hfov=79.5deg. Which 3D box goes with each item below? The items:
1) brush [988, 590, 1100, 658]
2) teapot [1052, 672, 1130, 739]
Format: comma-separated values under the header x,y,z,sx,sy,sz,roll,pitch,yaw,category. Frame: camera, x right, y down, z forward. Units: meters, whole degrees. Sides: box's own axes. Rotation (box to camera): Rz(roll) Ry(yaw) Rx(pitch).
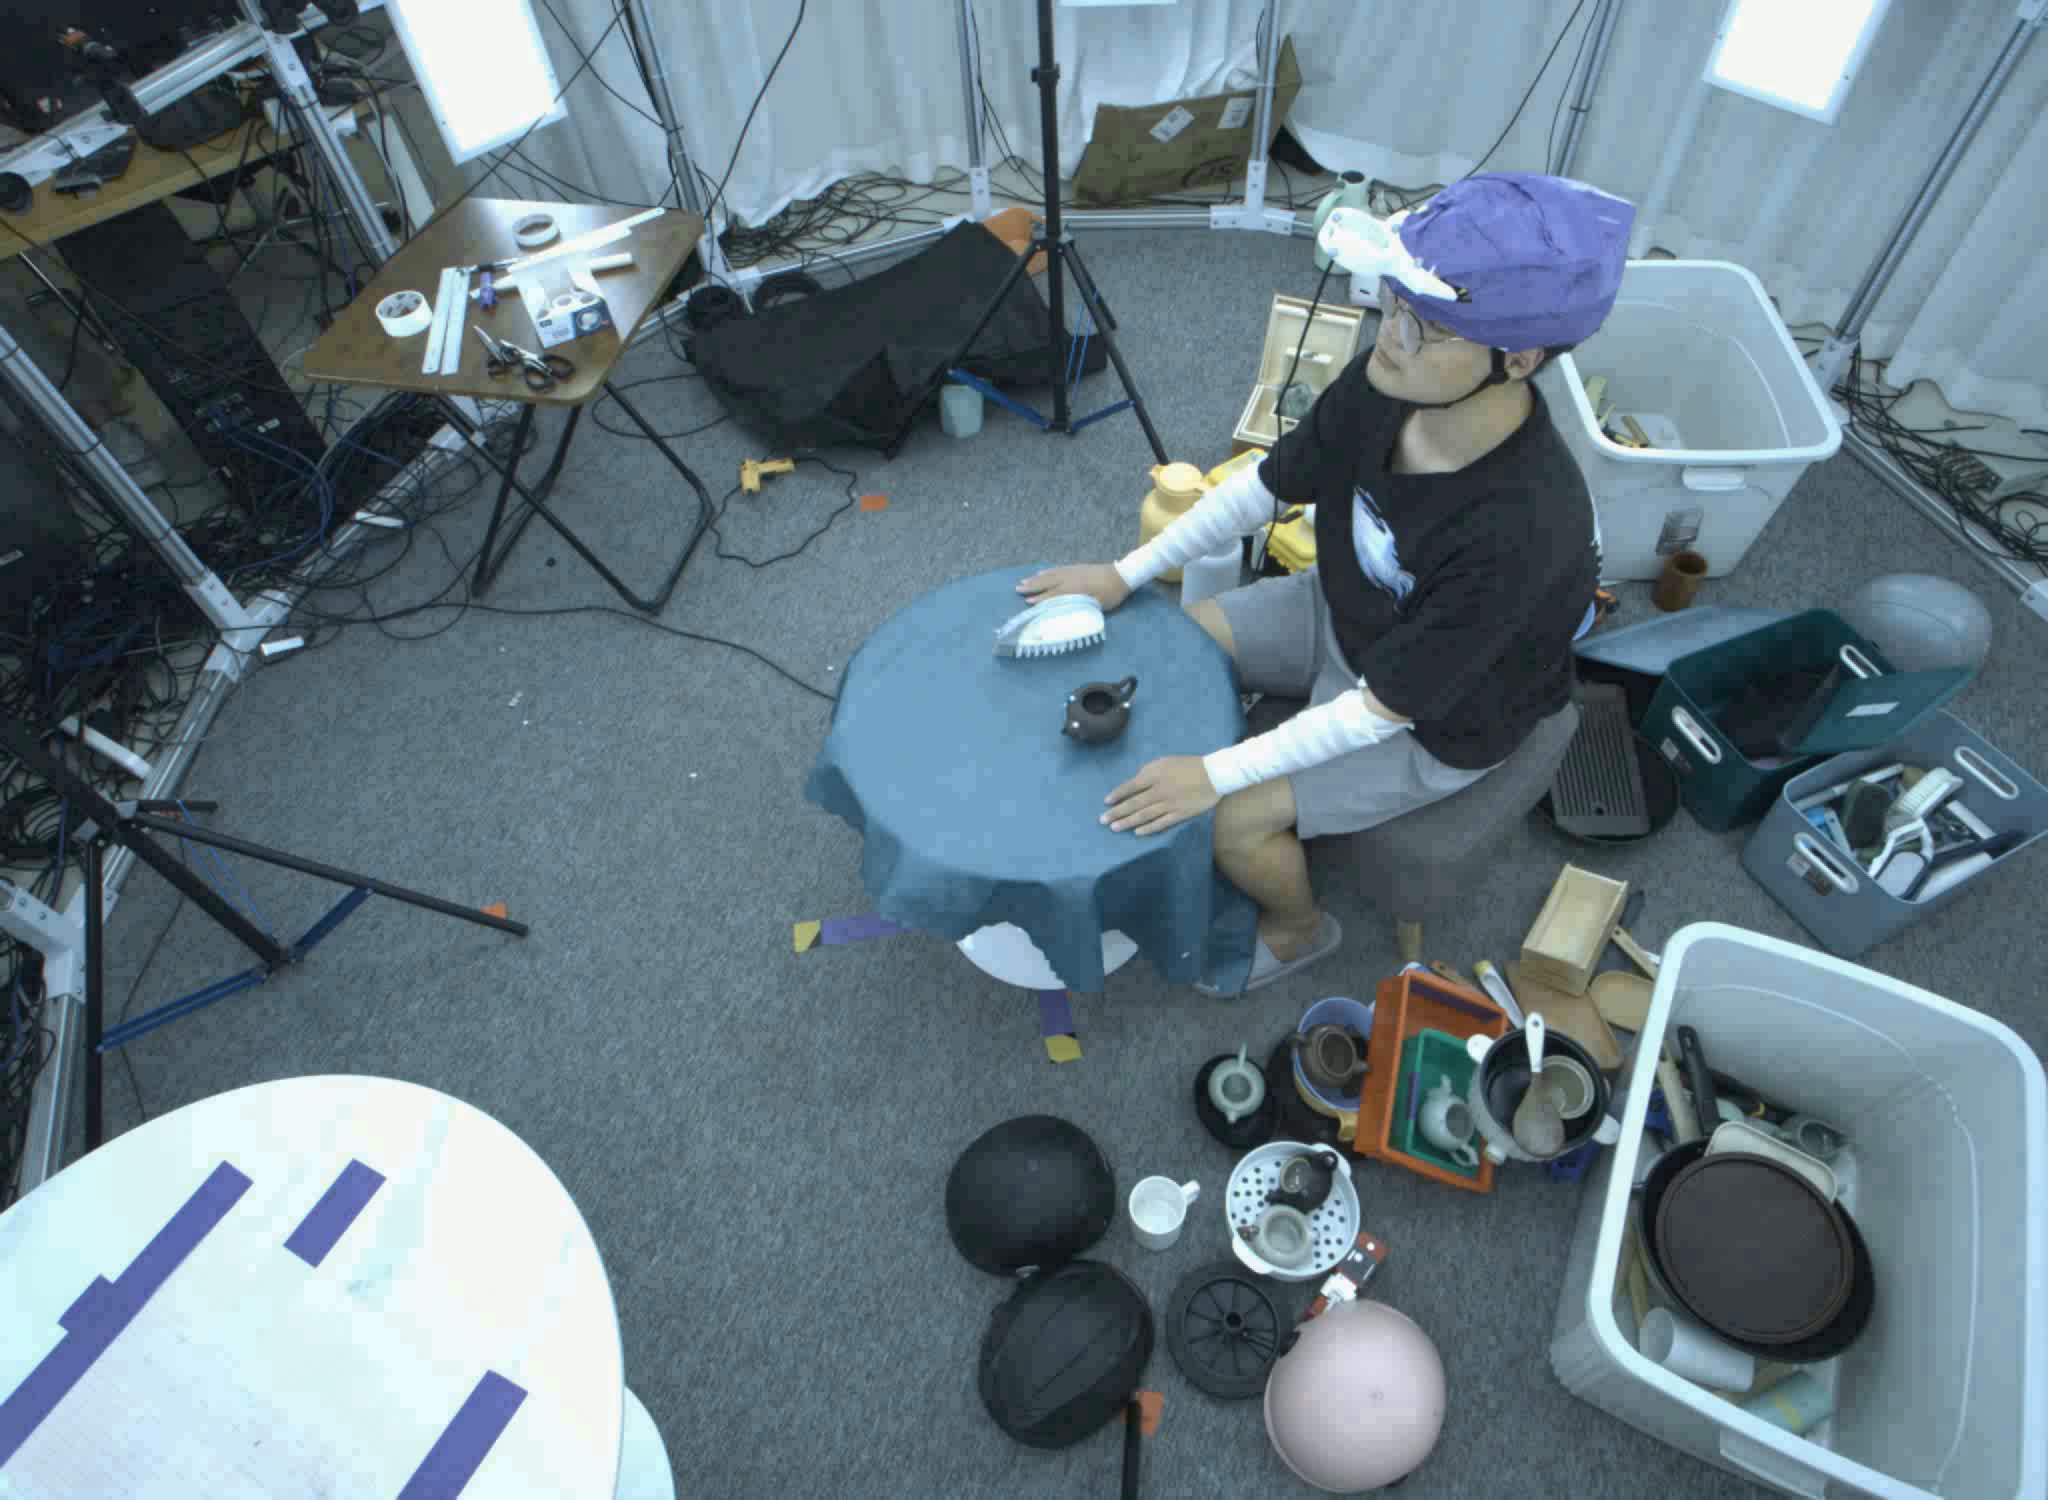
x,y,z,sx,sy,sz,roll,pitch,yaw,category
0.025,-0.193,1.860,0.176,0.095,0.060,-15,51,-6,brush
0.097,-0.060,1.778,0.155,0.065,0.090,-40,62,-22,teapot
